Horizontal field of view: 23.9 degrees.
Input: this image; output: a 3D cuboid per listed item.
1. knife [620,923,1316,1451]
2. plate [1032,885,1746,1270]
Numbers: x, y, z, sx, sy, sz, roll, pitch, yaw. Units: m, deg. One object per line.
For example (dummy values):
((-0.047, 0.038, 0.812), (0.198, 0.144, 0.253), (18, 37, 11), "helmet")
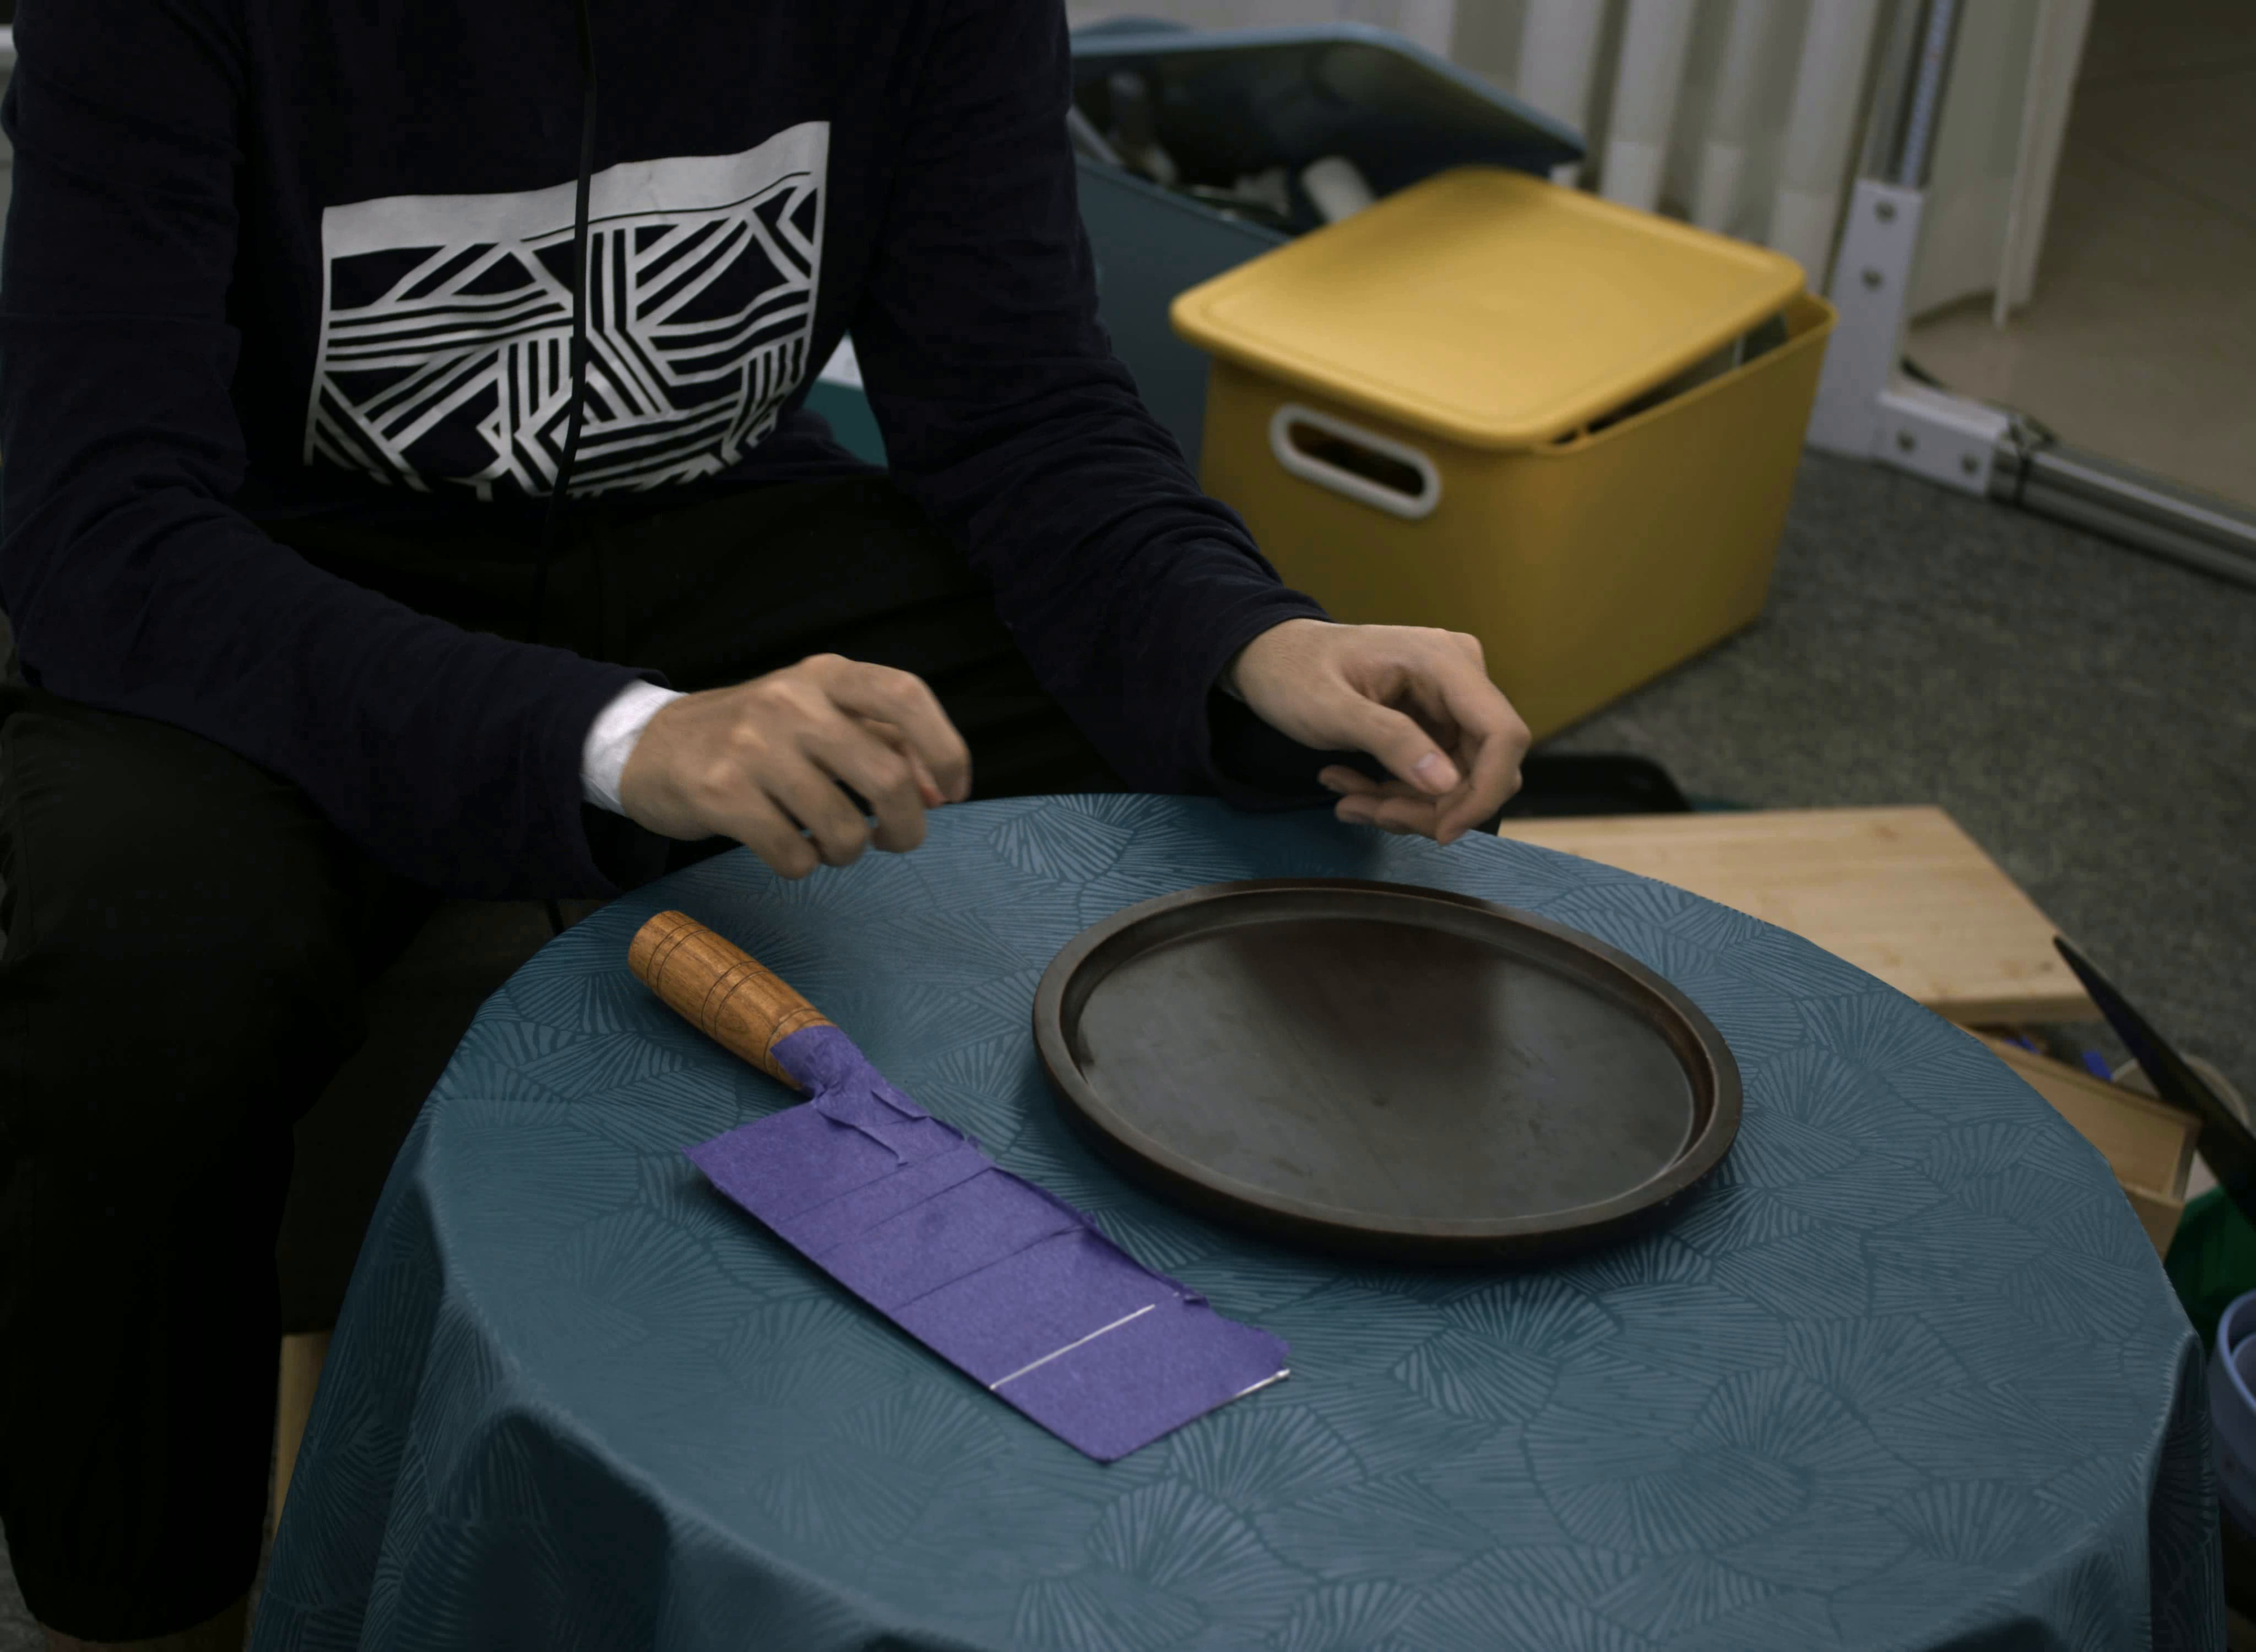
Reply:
((-0.082, 0.116, 1.772), (0.103, 0.032, 0.318), (-19, 37, -41), "knife")
((0.091, 0.086, 1.874), (0.254, 0.029, 0.256), (6, 27, -3), "plate")
